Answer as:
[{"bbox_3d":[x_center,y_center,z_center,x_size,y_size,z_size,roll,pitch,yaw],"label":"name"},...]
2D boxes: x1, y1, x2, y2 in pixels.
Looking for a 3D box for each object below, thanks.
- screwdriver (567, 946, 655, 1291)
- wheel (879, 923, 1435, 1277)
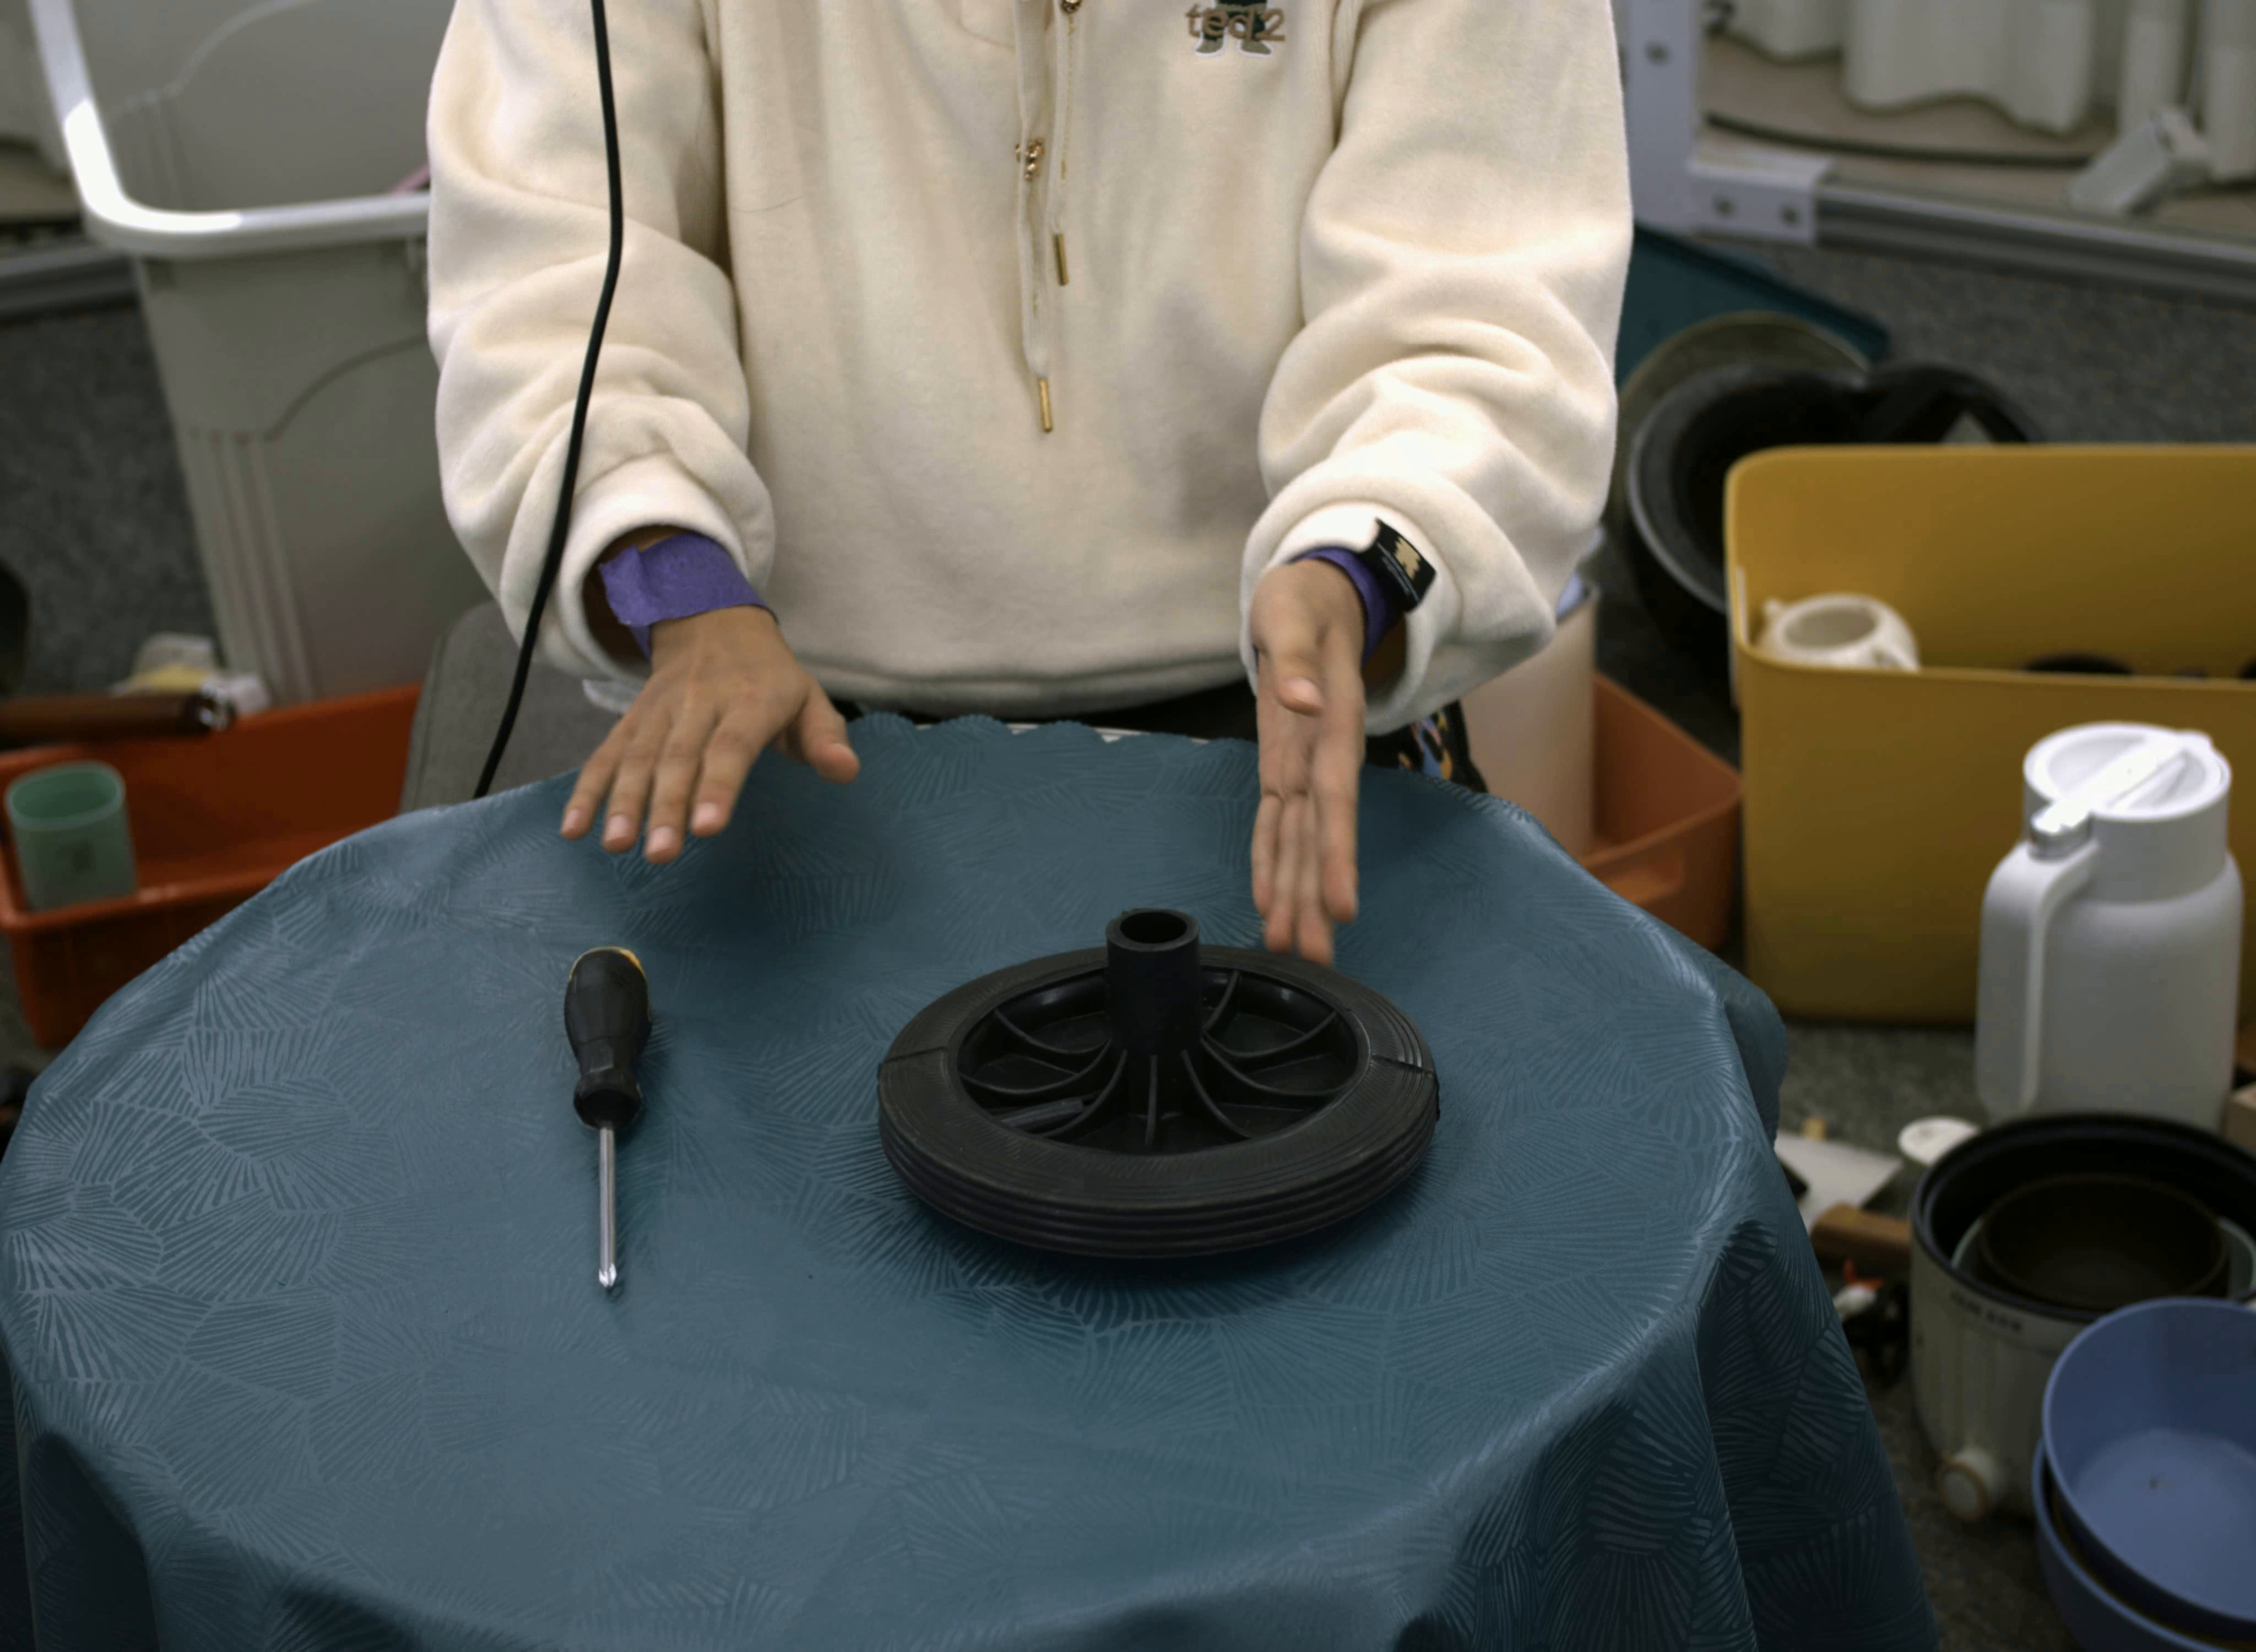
[{"bbox_3d":[-0.172,0.098,1.898,0.031,0.031,0.199,-5,30,-5],"label":"screwdriver"},{"bbox_3d":[0.008,0.075,1.870,0.187,0.078,0.192,19,34,37],"label":"wheel"}]
